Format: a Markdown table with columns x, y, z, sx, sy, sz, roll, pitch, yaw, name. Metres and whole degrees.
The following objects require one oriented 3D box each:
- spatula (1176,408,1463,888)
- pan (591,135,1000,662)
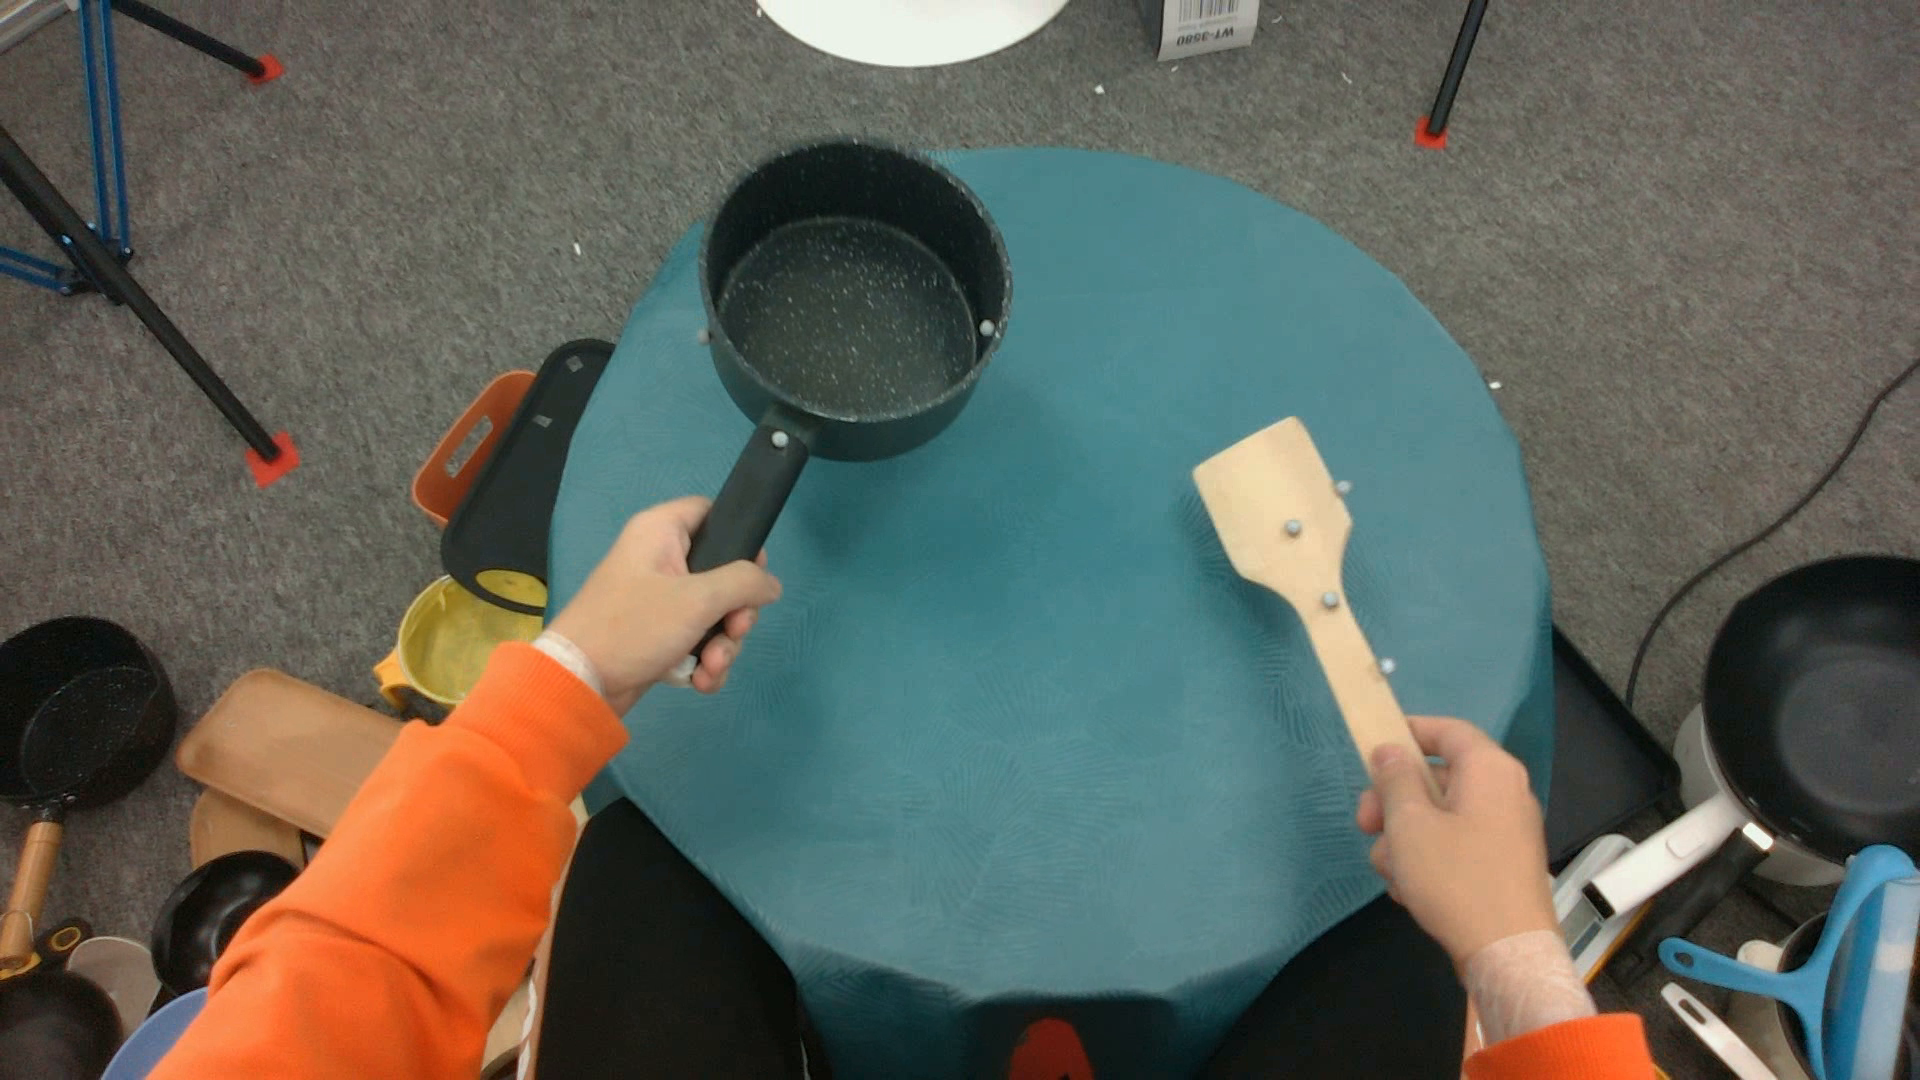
| x | y | z | sx | sy | sz | roll | pitch | yaw | name |
| --- | --- | --- | --- | --- | --- | --- | --- | --- | --- |
| 0.191 | 0.047 | 0.724 | 0.072 | 0.010 | 0.294 | -25 | 51 | 11 | spatula |
| -0.099 | -0.071 | 0.749 | 0.172 | 0.086 | 0.330 | 26 | 66 | 0 | pan |
